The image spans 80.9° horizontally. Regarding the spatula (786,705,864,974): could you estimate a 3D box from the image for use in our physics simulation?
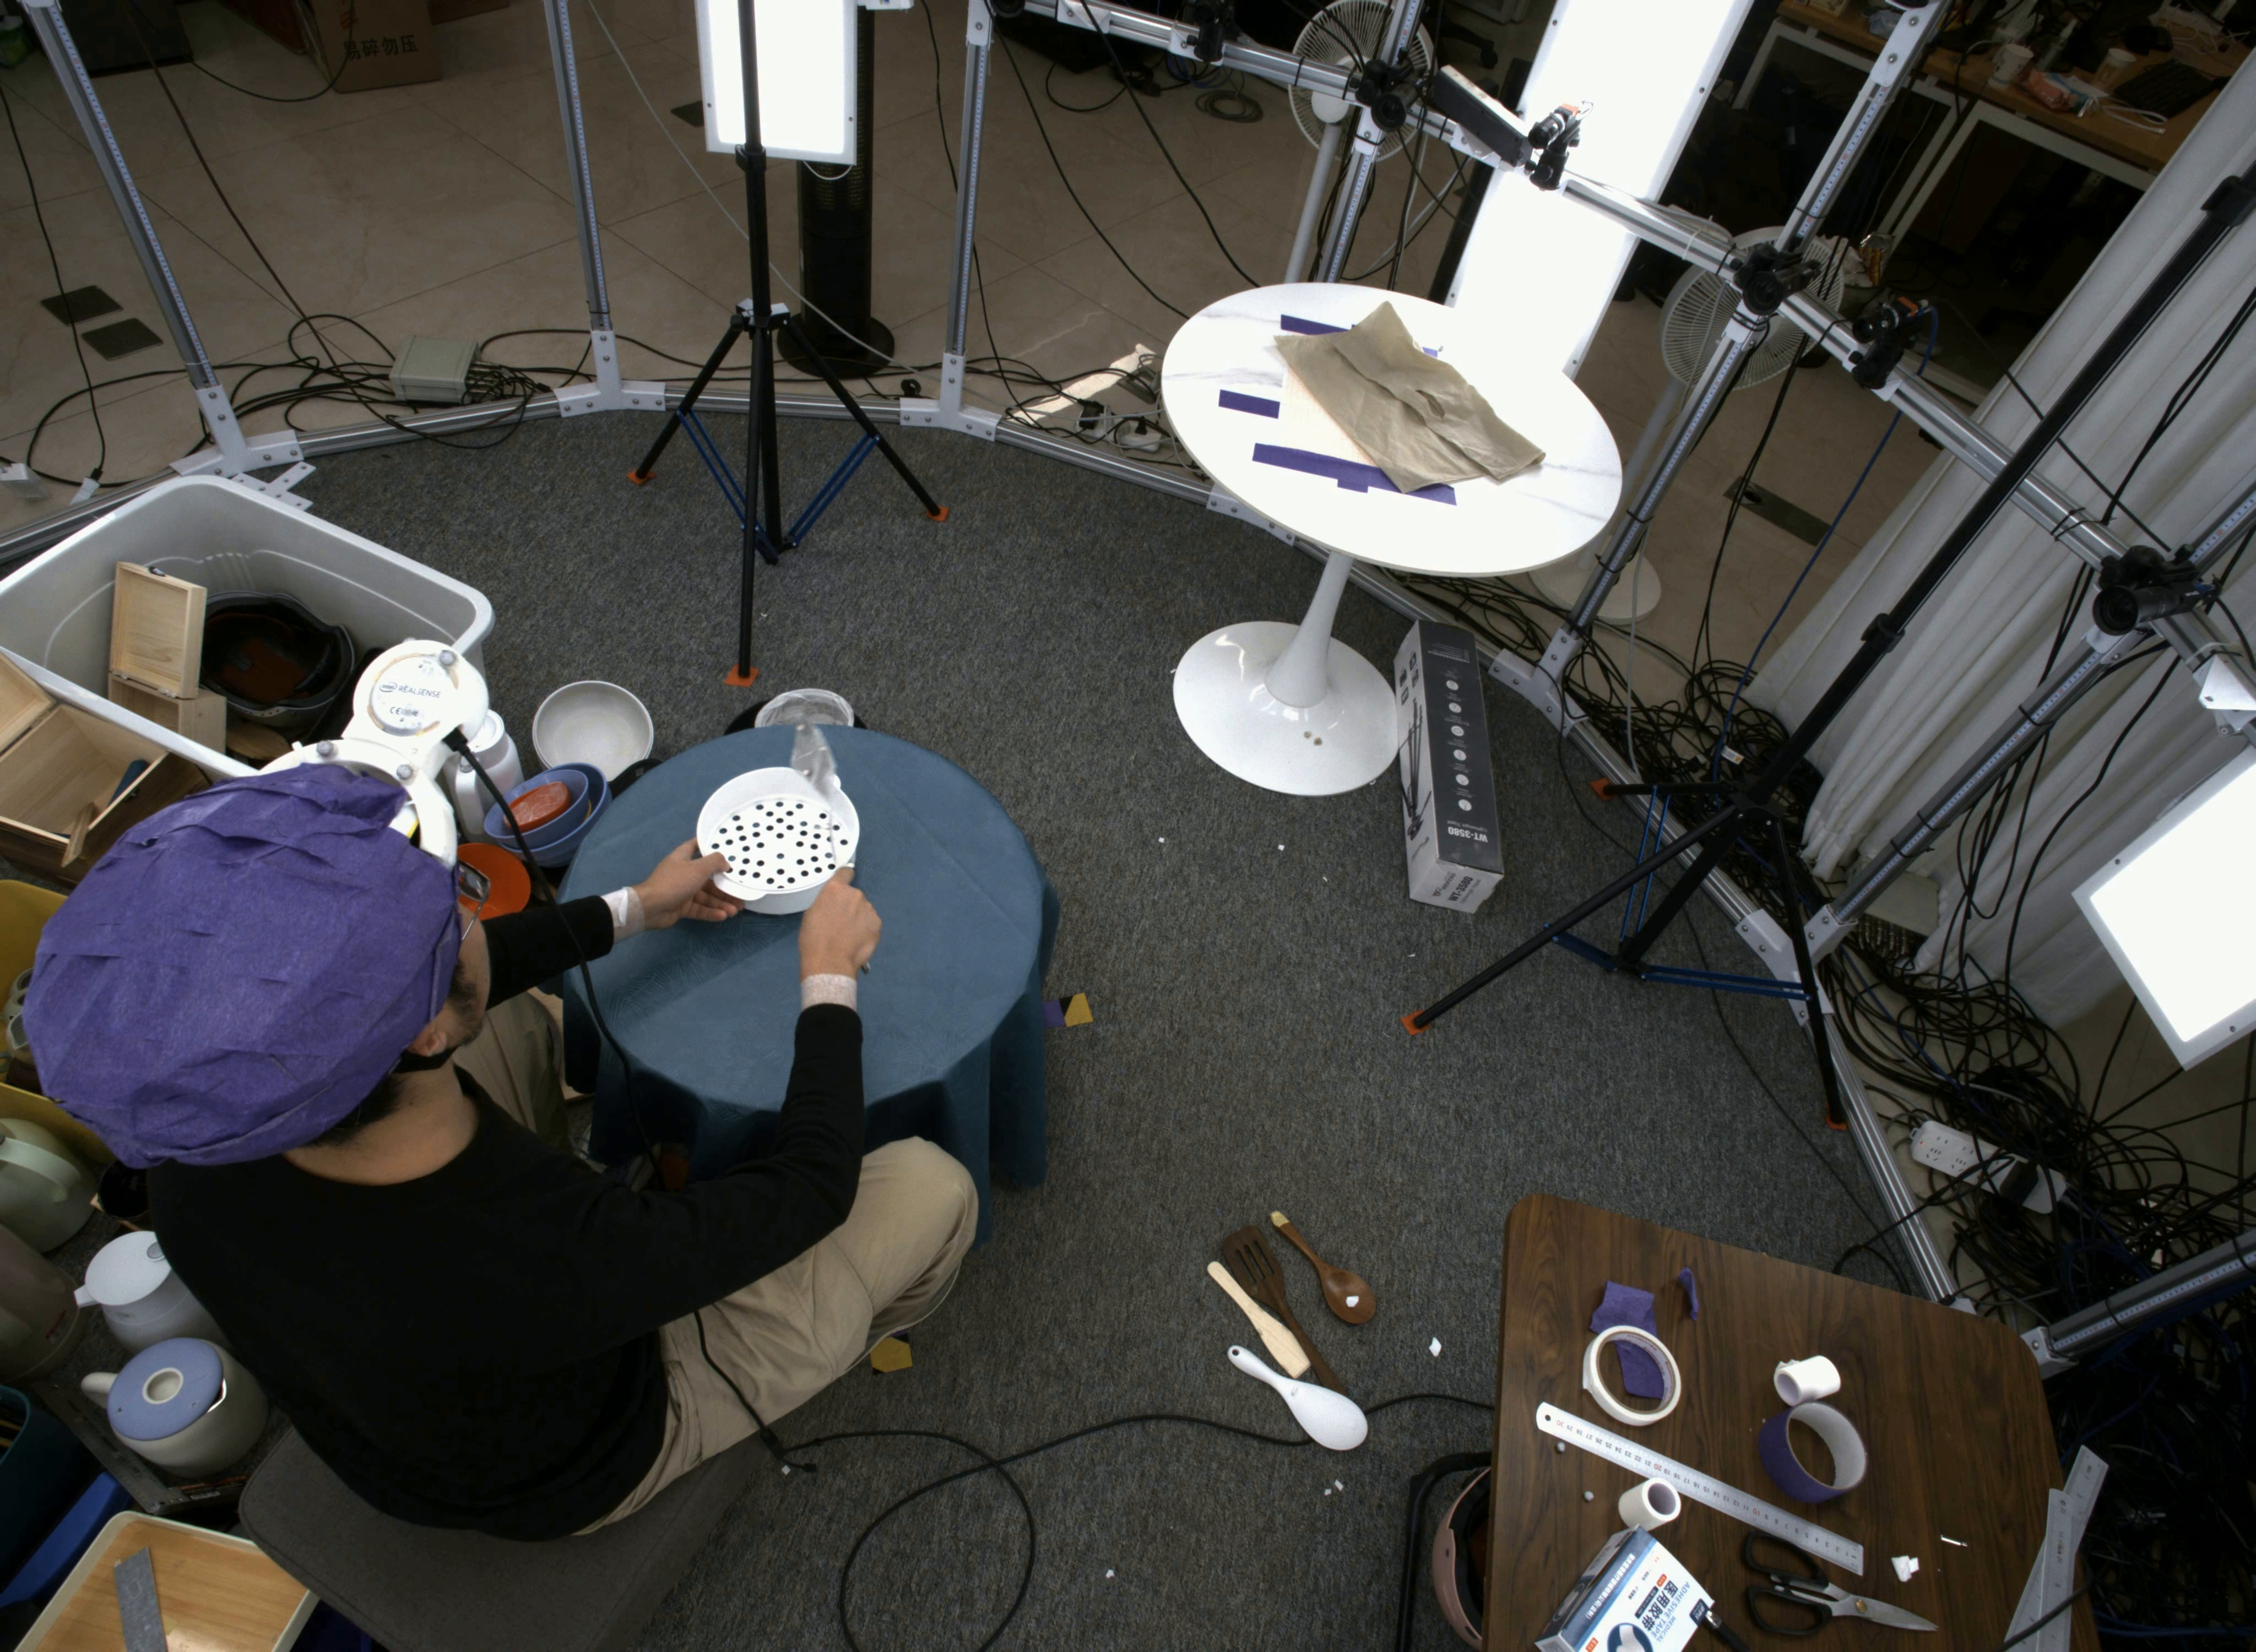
[{"bbox_3d":[-0.354,0.014,1.514,0.045,0.100,0.356,0,52,-25],"label":"spatula"}]

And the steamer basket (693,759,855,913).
[{"bbox_3d":[-0.449,0.016,1.655,0.199,0.070,0.229,22,53,4],"label":"steamer basket"}]
